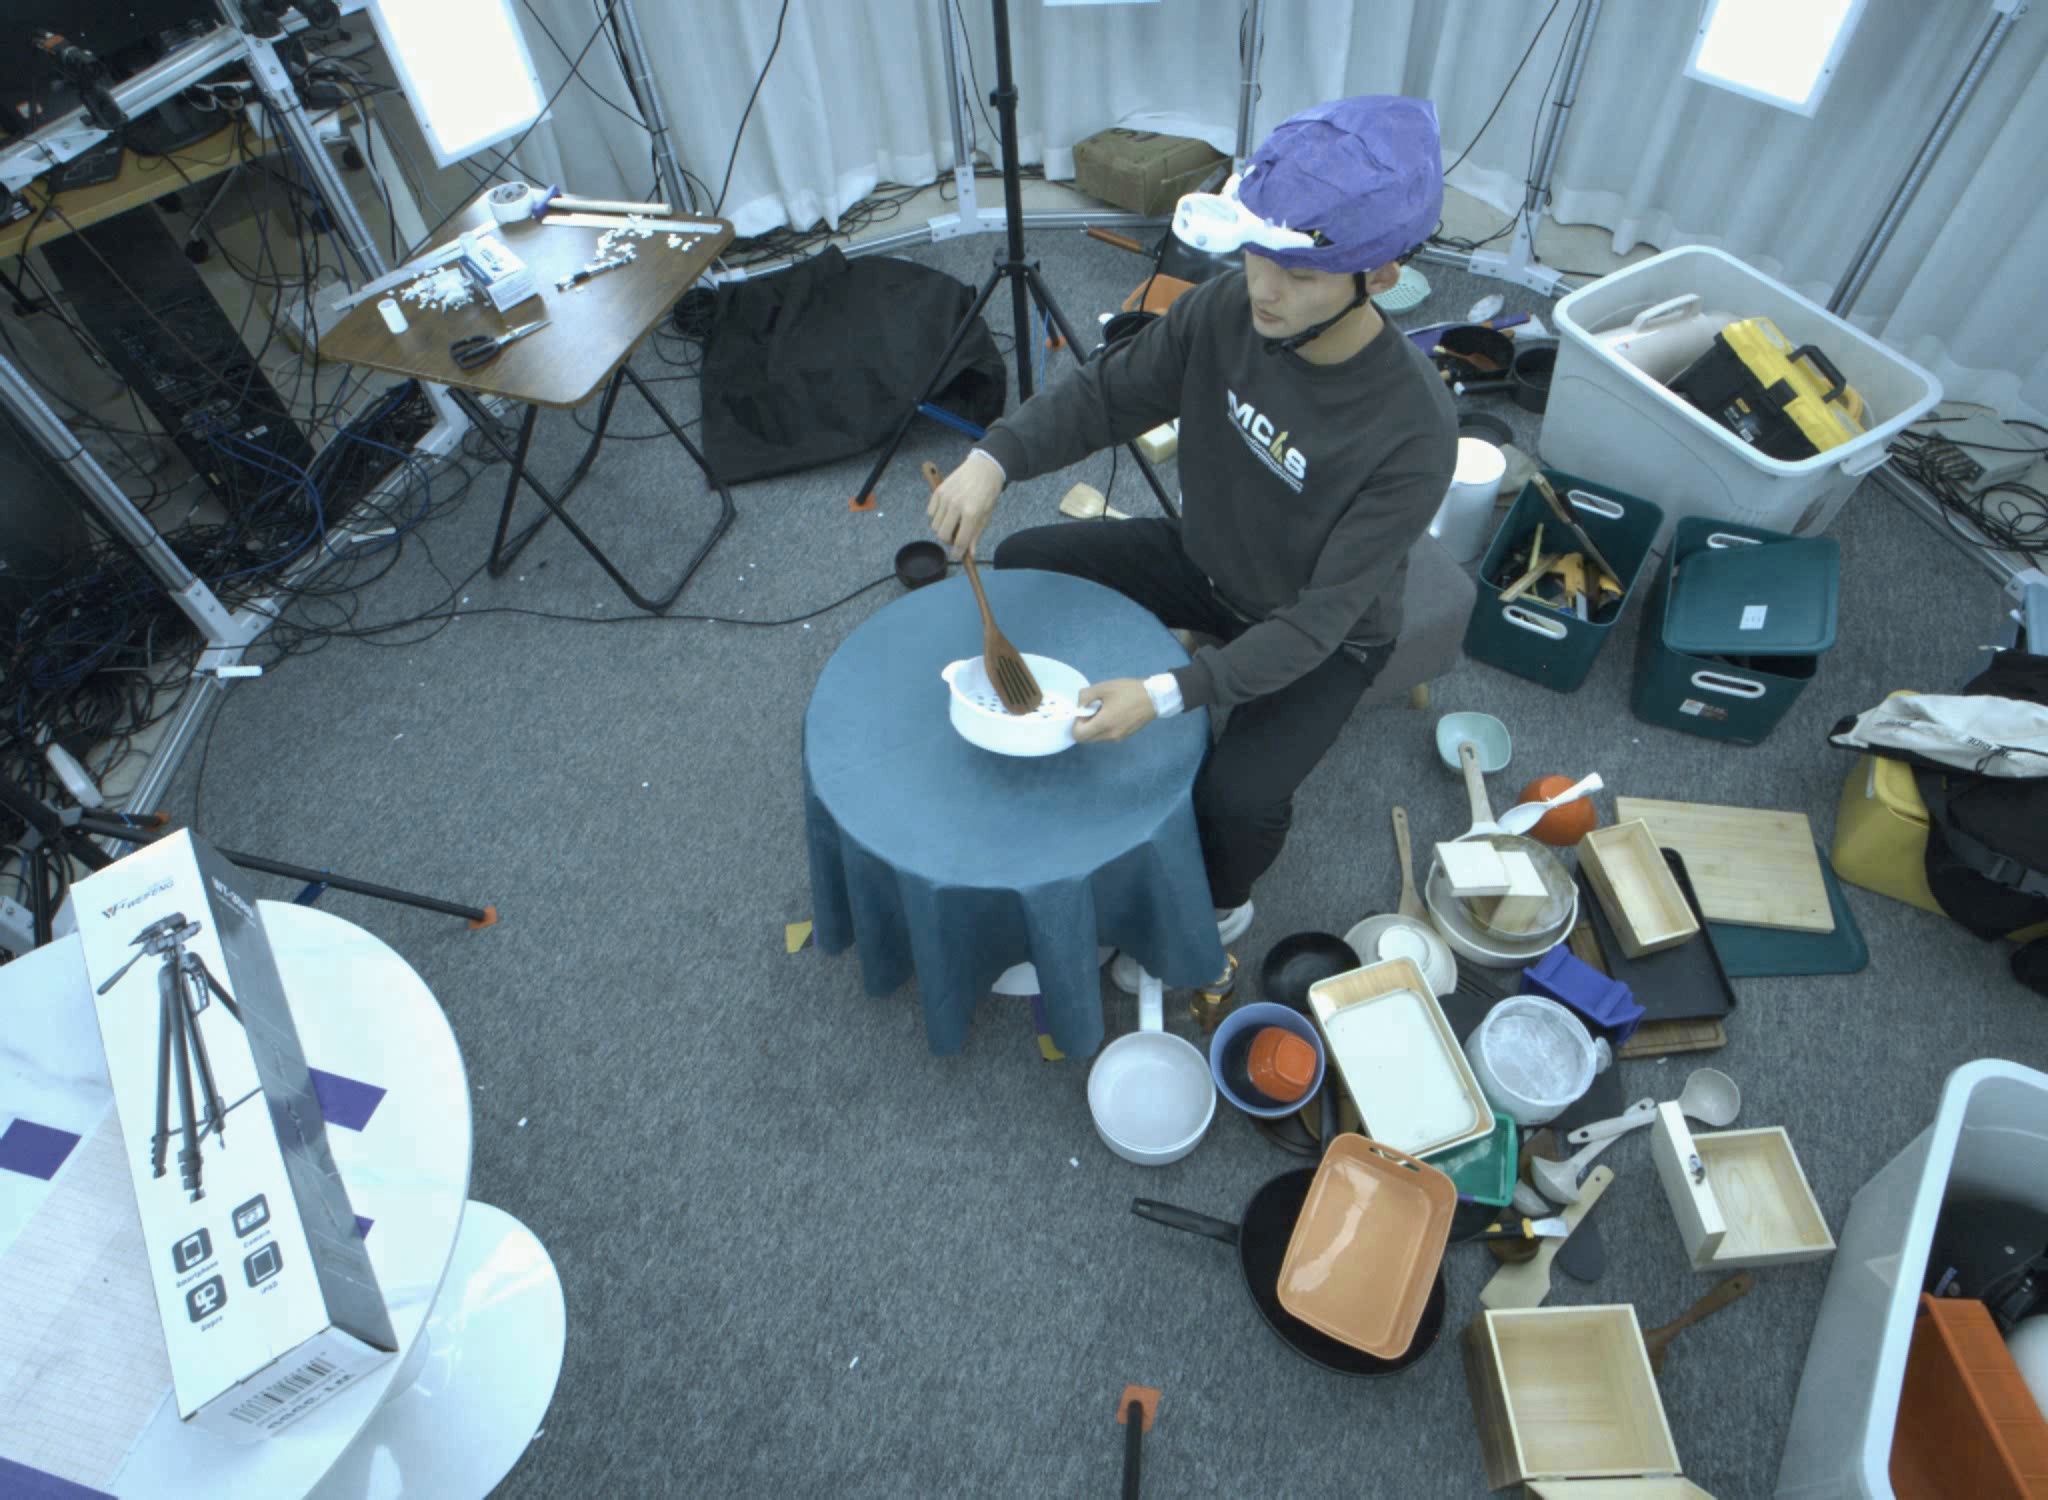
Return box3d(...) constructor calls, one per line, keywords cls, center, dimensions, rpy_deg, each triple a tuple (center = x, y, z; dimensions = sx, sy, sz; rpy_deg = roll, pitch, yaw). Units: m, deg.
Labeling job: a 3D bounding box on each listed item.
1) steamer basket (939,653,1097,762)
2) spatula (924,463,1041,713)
box3d(cls="steamer basket", center=(-0.013, -0.060, 1.747), dimensions=(0.229, 0.069, 0.202), rpy_deg=(20, 33, 10))
box3d(cls="spatula", center=(-0.072, -0.234, 1.764), dimensions=(0.087, 0.023, 0.386), rpy_deg=(-27, 98, -47))
